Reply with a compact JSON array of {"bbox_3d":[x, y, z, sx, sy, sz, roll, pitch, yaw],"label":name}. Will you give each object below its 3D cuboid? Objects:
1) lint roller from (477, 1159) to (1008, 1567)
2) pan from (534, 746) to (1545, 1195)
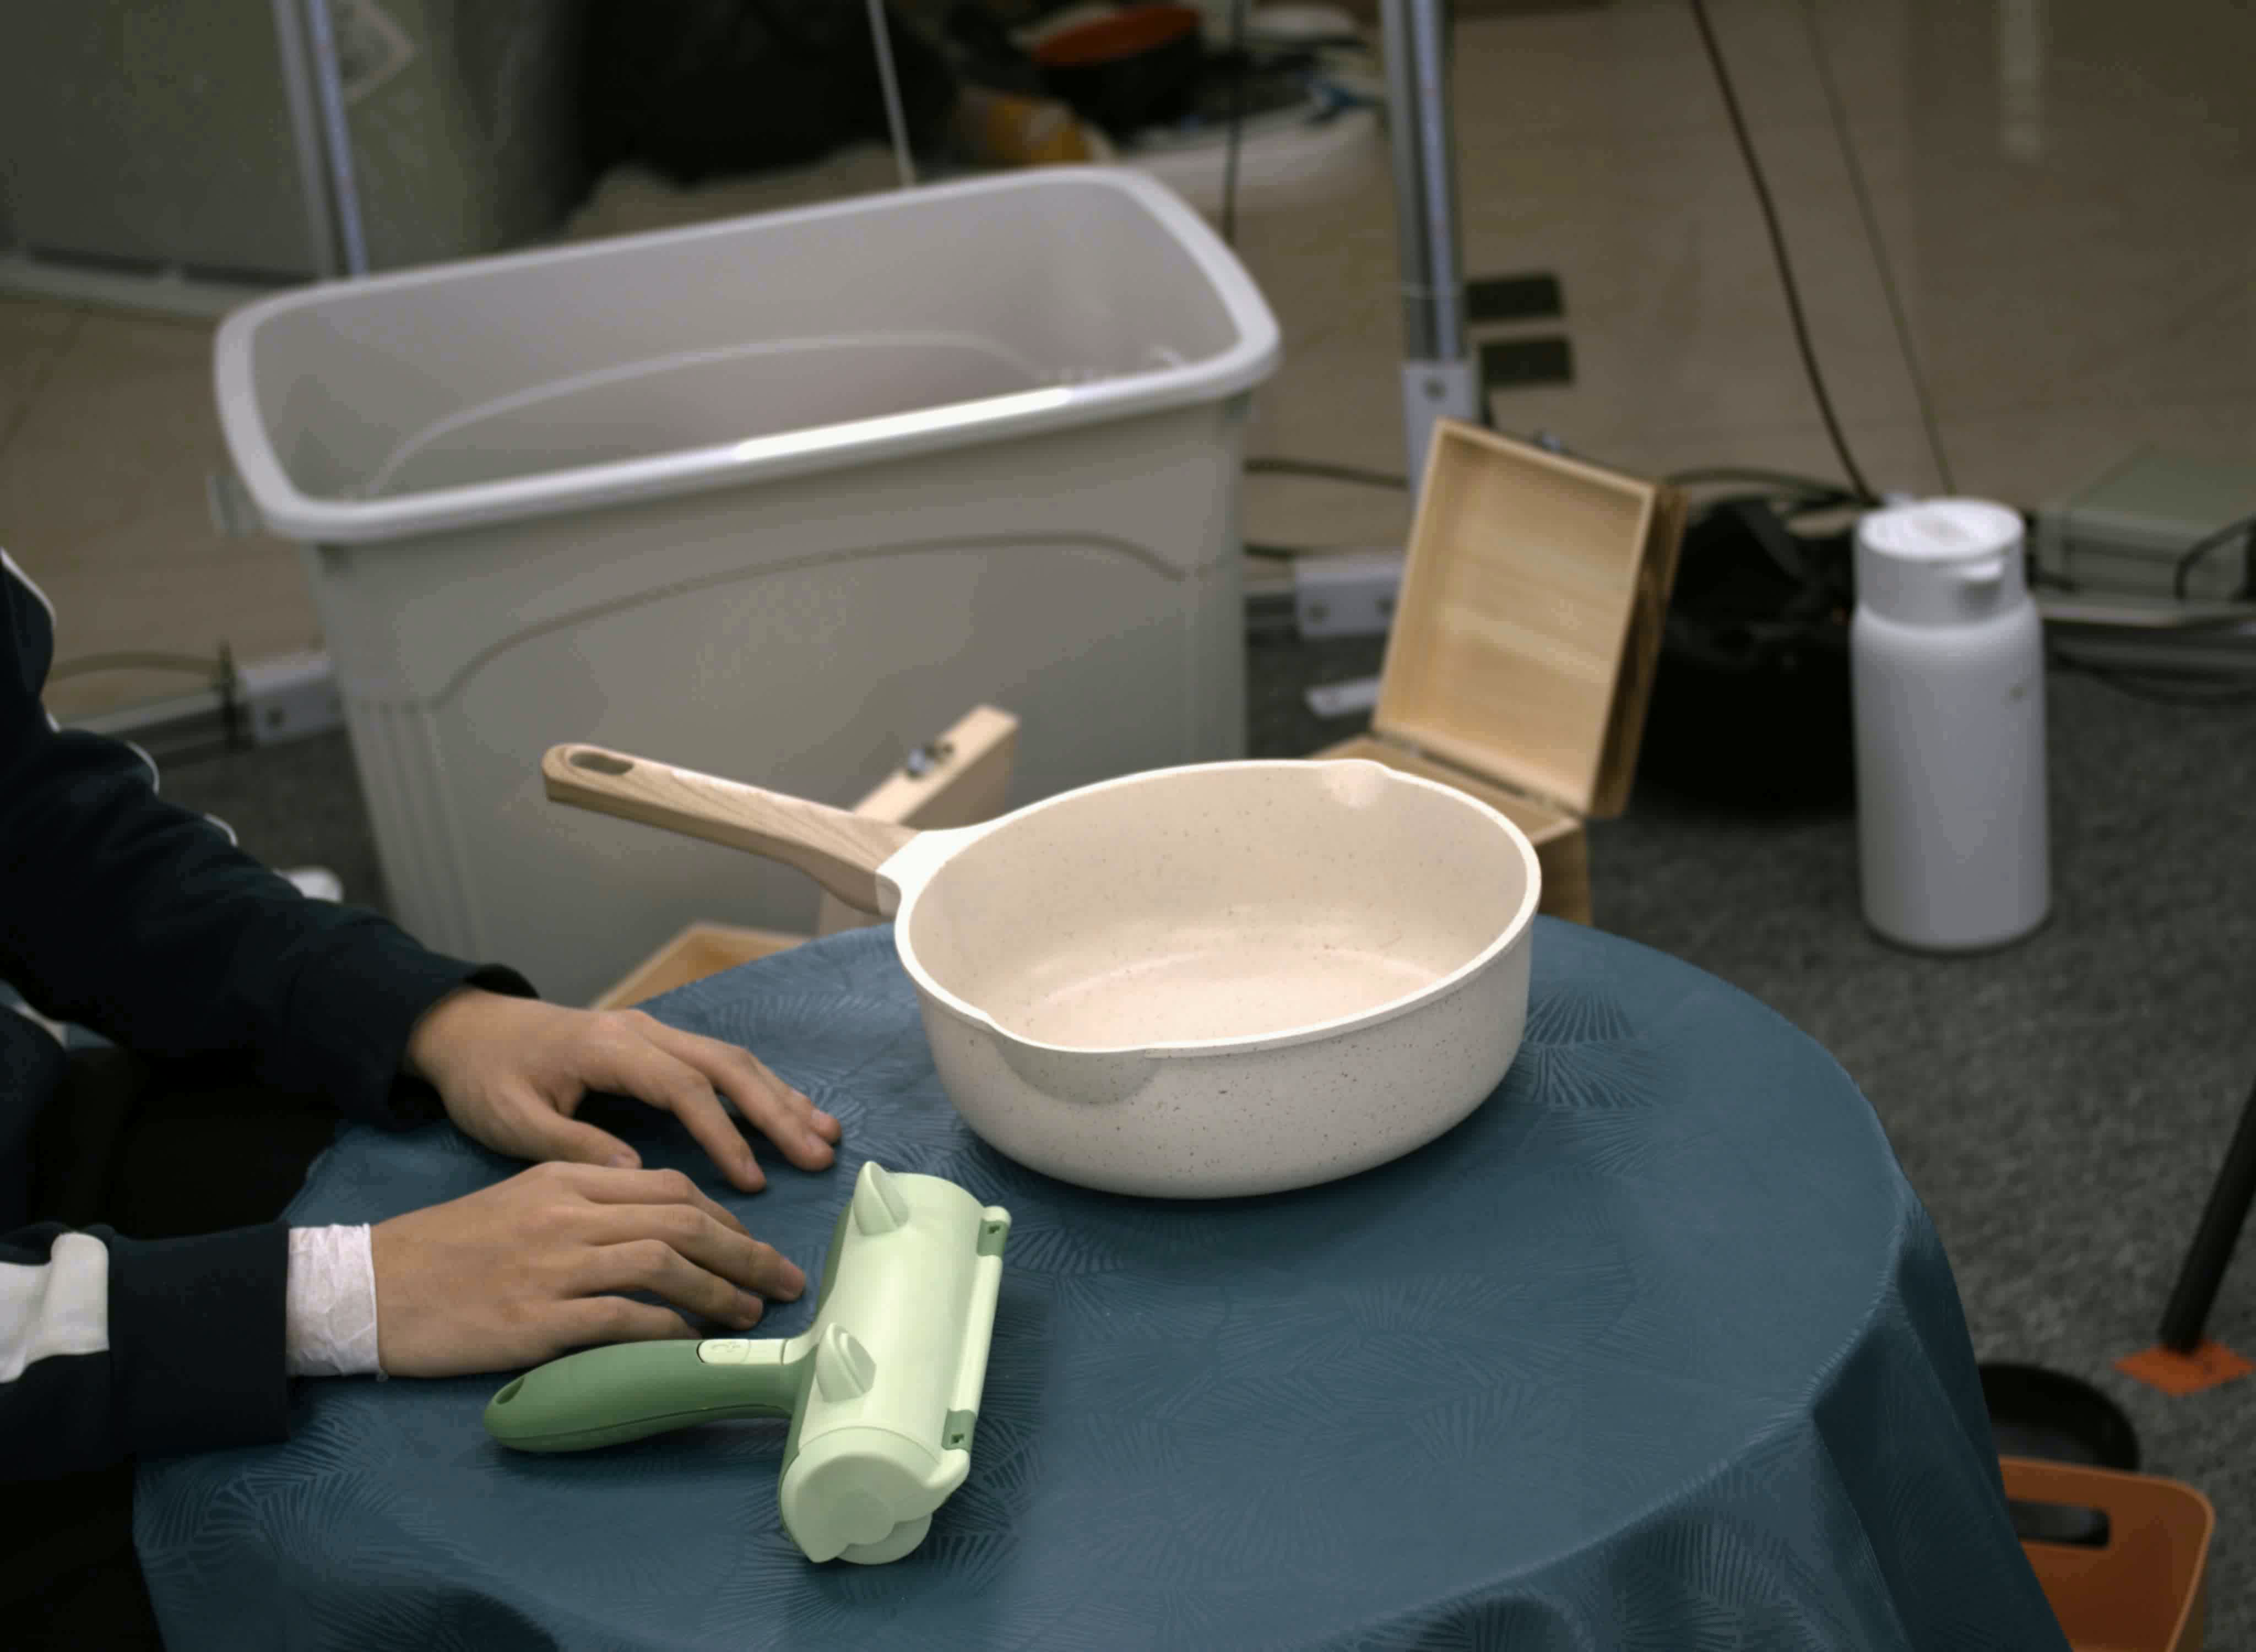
[{"bbox_3d":[-0.140,0.181,1.998,0.183,0.083,0.195,1,26,4],"label":"lint roller"},{"bbox_3d":[-0.042,0.044,2.240,0.433,0.103,0.260,7,30,27],"label":"pan"}]
